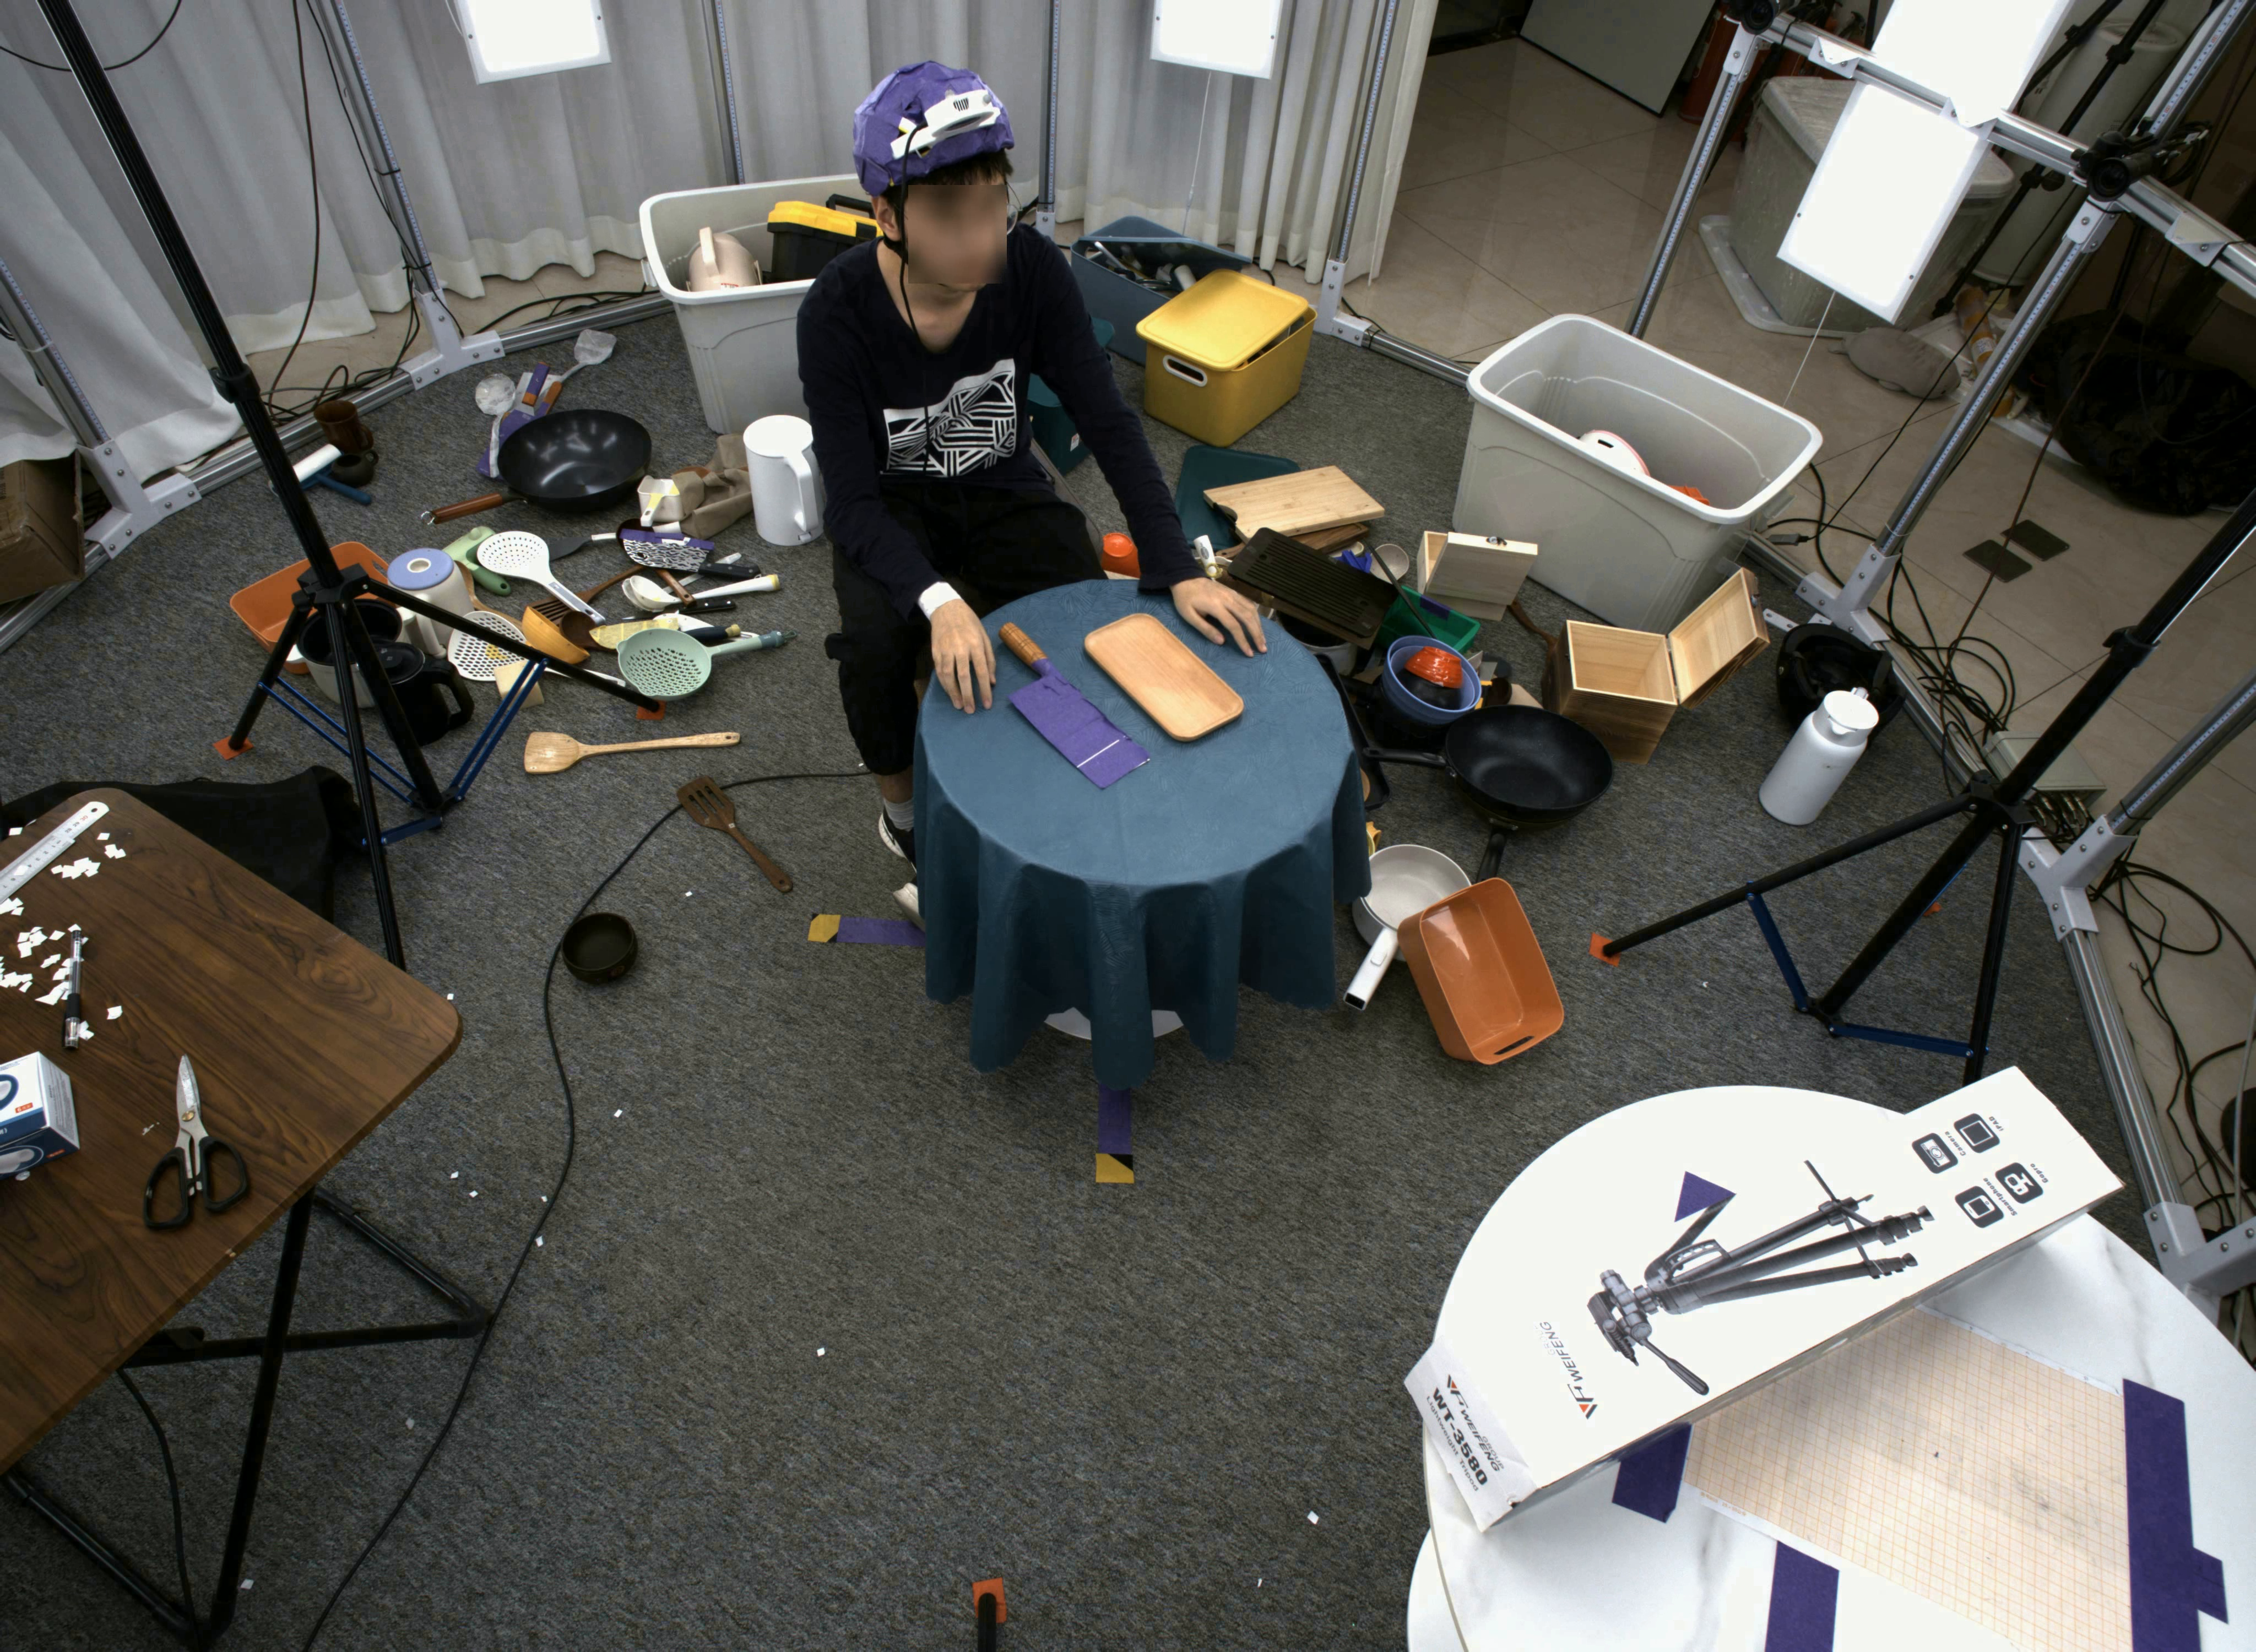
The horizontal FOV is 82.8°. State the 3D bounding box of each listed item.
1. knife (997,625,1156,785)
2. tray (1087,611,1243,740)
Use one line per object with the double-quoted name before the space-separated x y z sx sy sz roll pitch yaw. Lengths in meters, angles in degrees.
"knife" -0.100 -0.172 1.793 0.104 0.031 0.320 -31 58 -27
"tray" 0.051 -0.219 1.850 0.131 0.022 0.256 -23 54 -25
